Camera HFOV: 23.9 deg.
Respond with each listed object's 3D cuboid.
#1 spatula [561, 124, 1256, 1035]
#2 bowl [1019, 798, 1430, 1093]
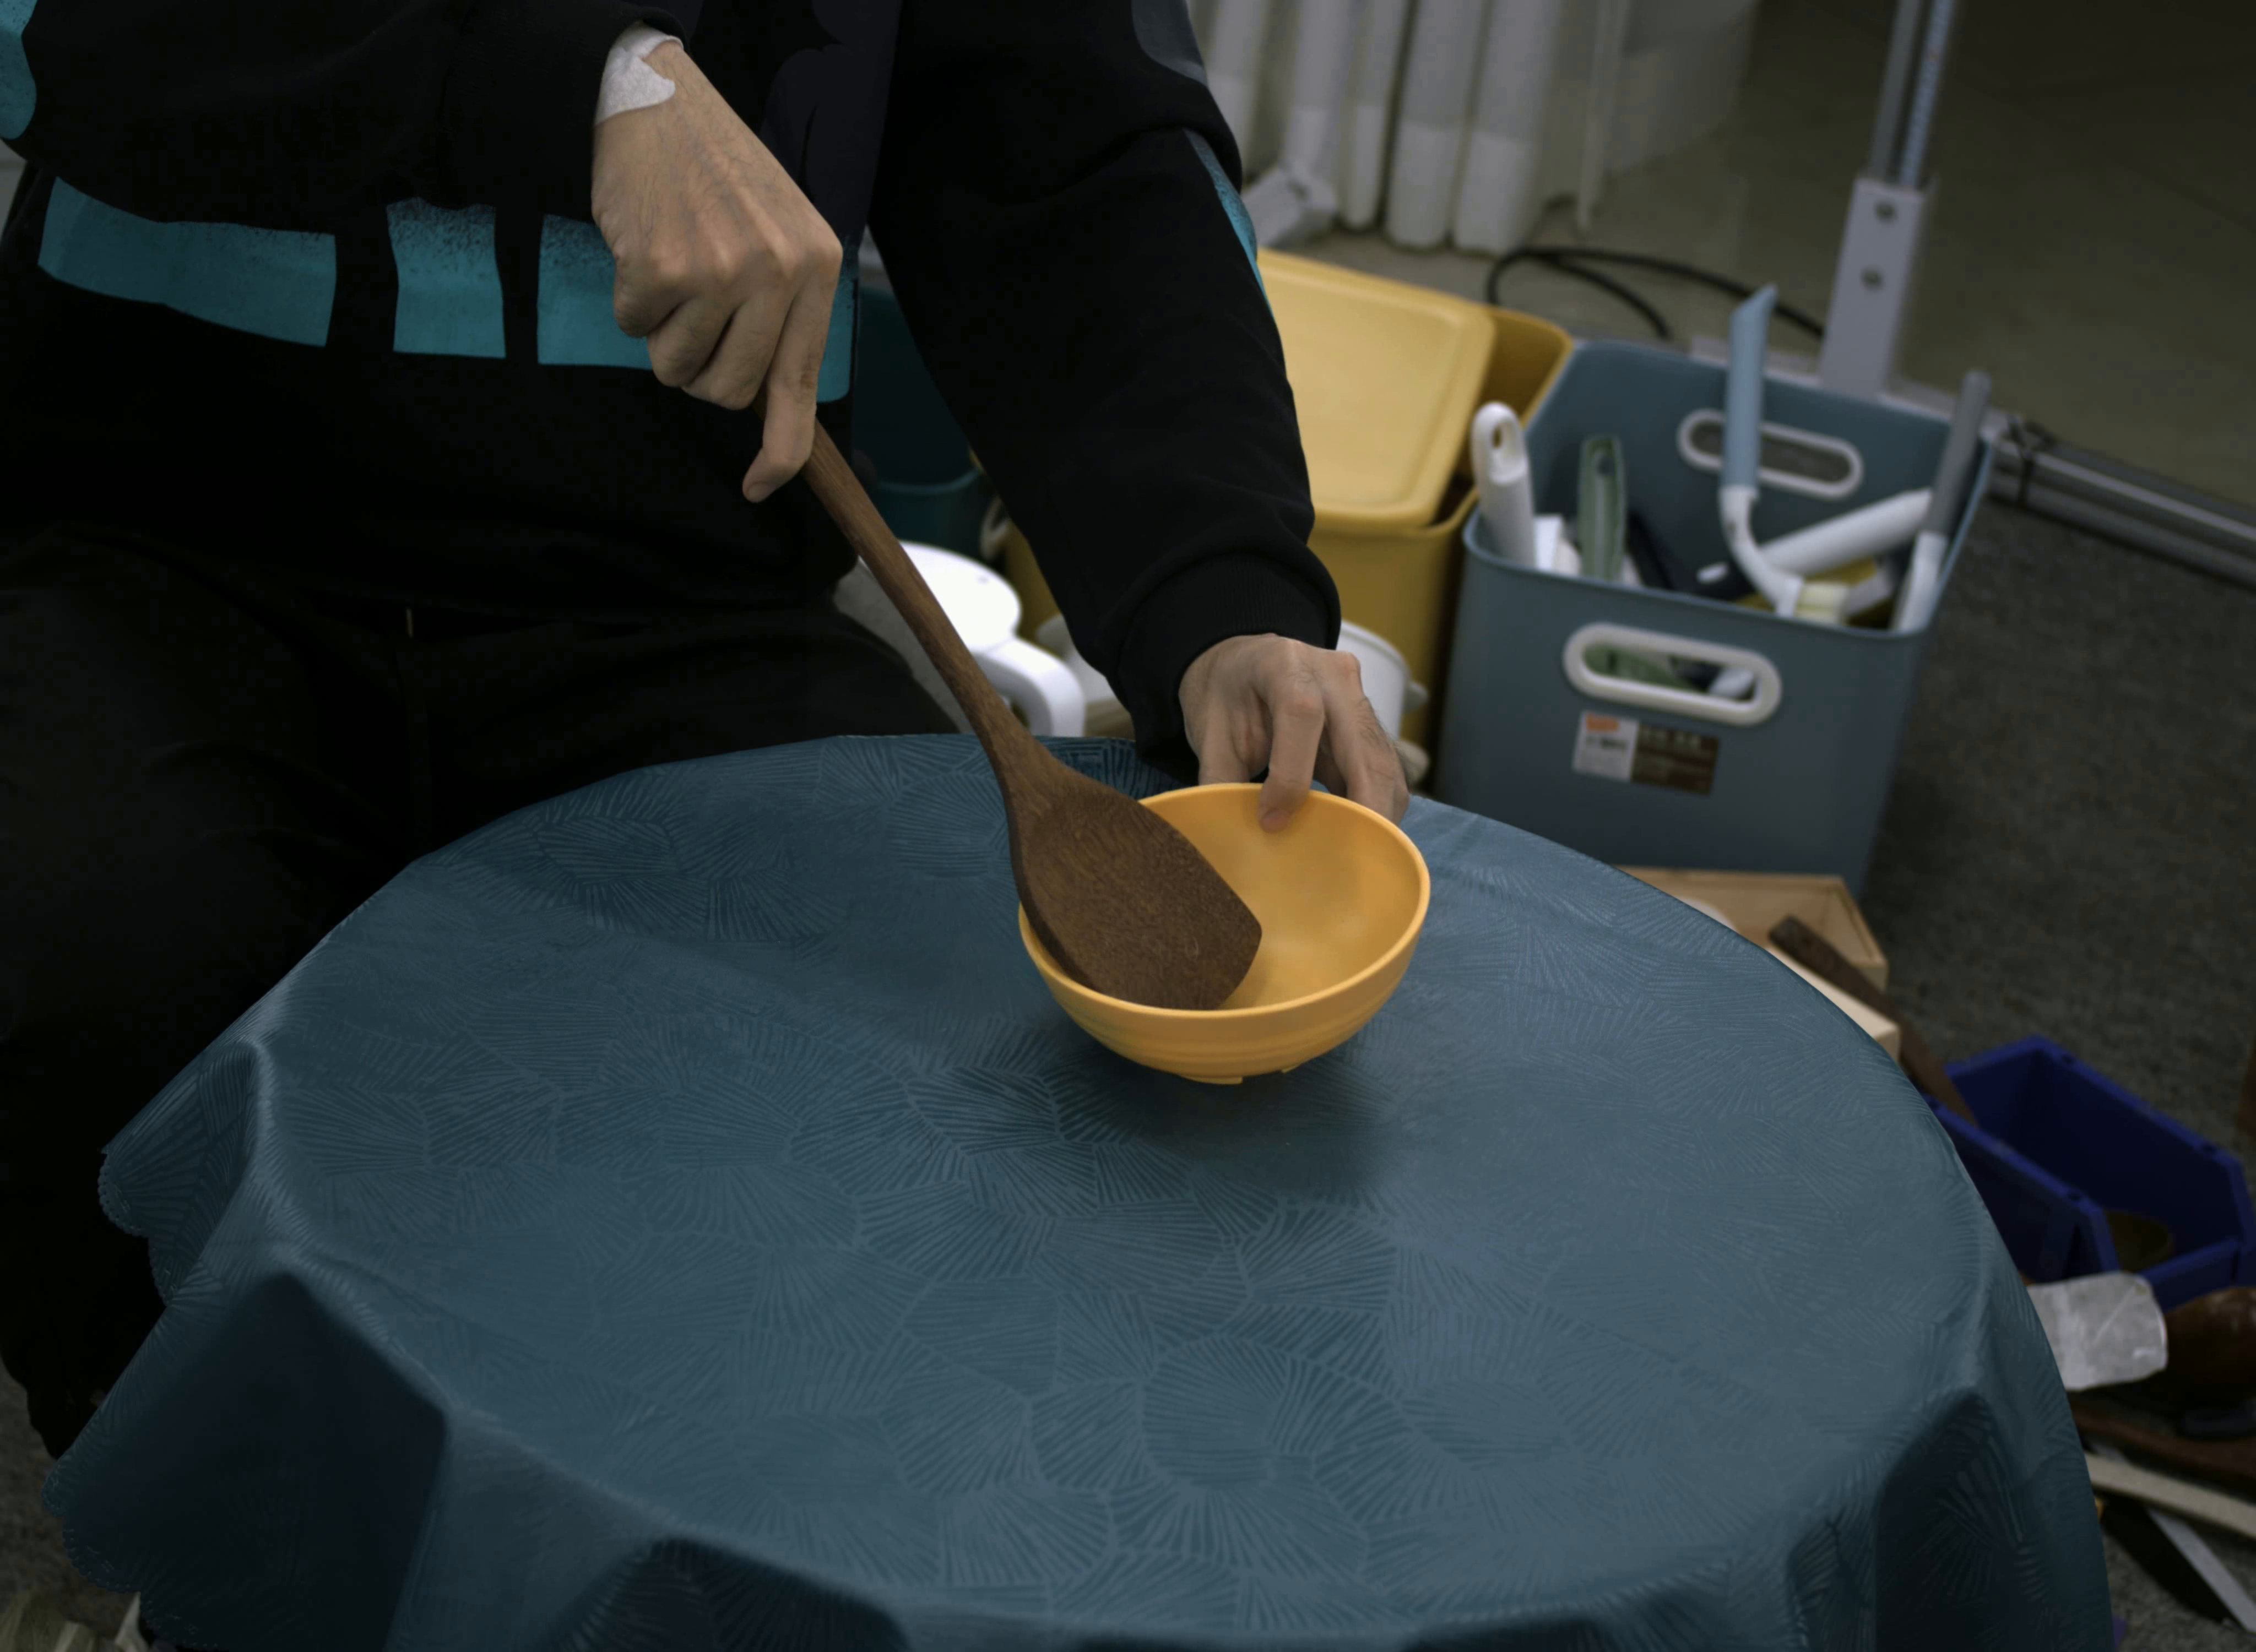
[{"bbox_3d":[-0.084,-0.091,1.868,0.386,0.016,0.096,55,39,2],"label":"spatula"},{"bbox_3d":[0.035,0.052,1.876,0.145,0.060,0.146,-4,31,2],"label":"bowl"}]
